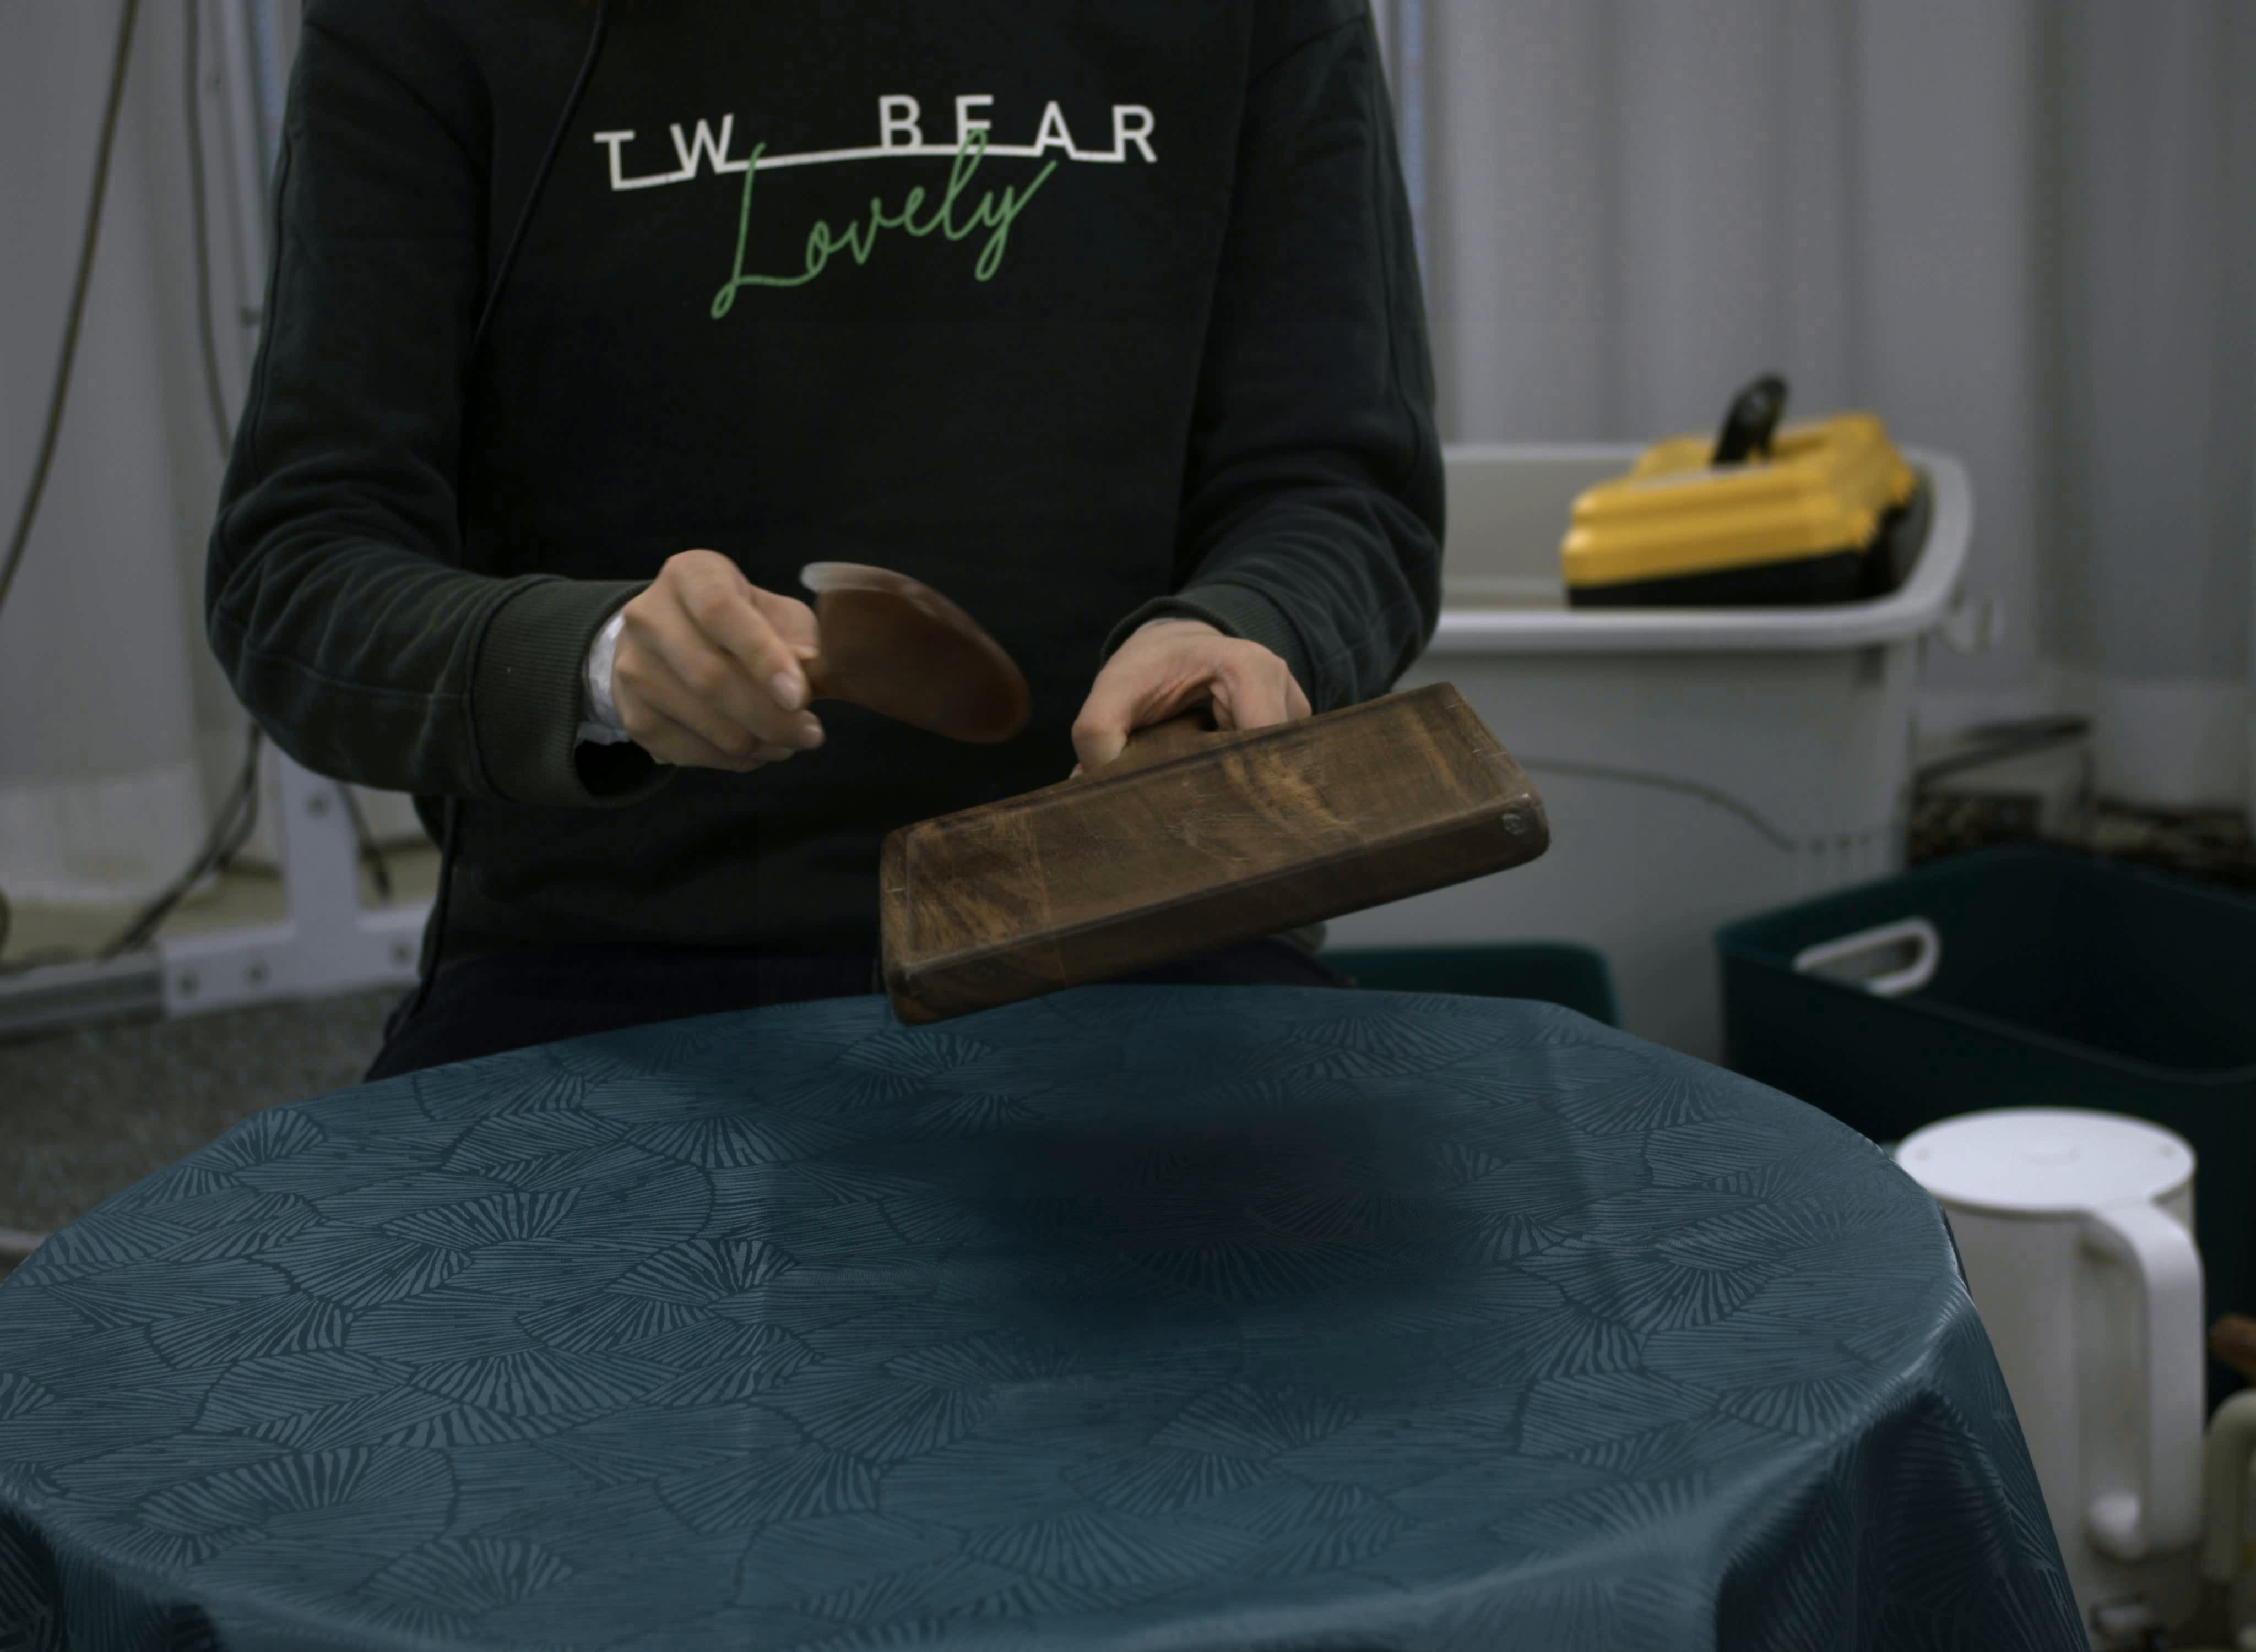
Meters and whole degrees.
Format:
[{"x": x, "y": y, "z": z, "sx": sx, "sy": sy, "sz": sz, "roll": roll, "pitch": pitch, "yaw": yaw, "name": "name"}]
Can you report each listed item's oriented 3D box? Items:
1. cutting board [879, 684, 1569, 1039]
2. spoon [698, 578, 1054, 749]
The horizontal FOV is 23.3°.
[{"x": 0.020, "y": -0.001, "z": 1.719, "sx": 0.200, "sy": 0.023, "sz": 0.353, "roll": -16, "pitch": 9, "yaw": 0, "name": "cutting board"}, {"x": -0.089, "y": -0.046, "z": 1.754, "sx": 0.017, "sy": 0.075, "sz": 0.216, "roll": -51, "pitch": 20, "yaw": -19, "name": "spoon"}]
